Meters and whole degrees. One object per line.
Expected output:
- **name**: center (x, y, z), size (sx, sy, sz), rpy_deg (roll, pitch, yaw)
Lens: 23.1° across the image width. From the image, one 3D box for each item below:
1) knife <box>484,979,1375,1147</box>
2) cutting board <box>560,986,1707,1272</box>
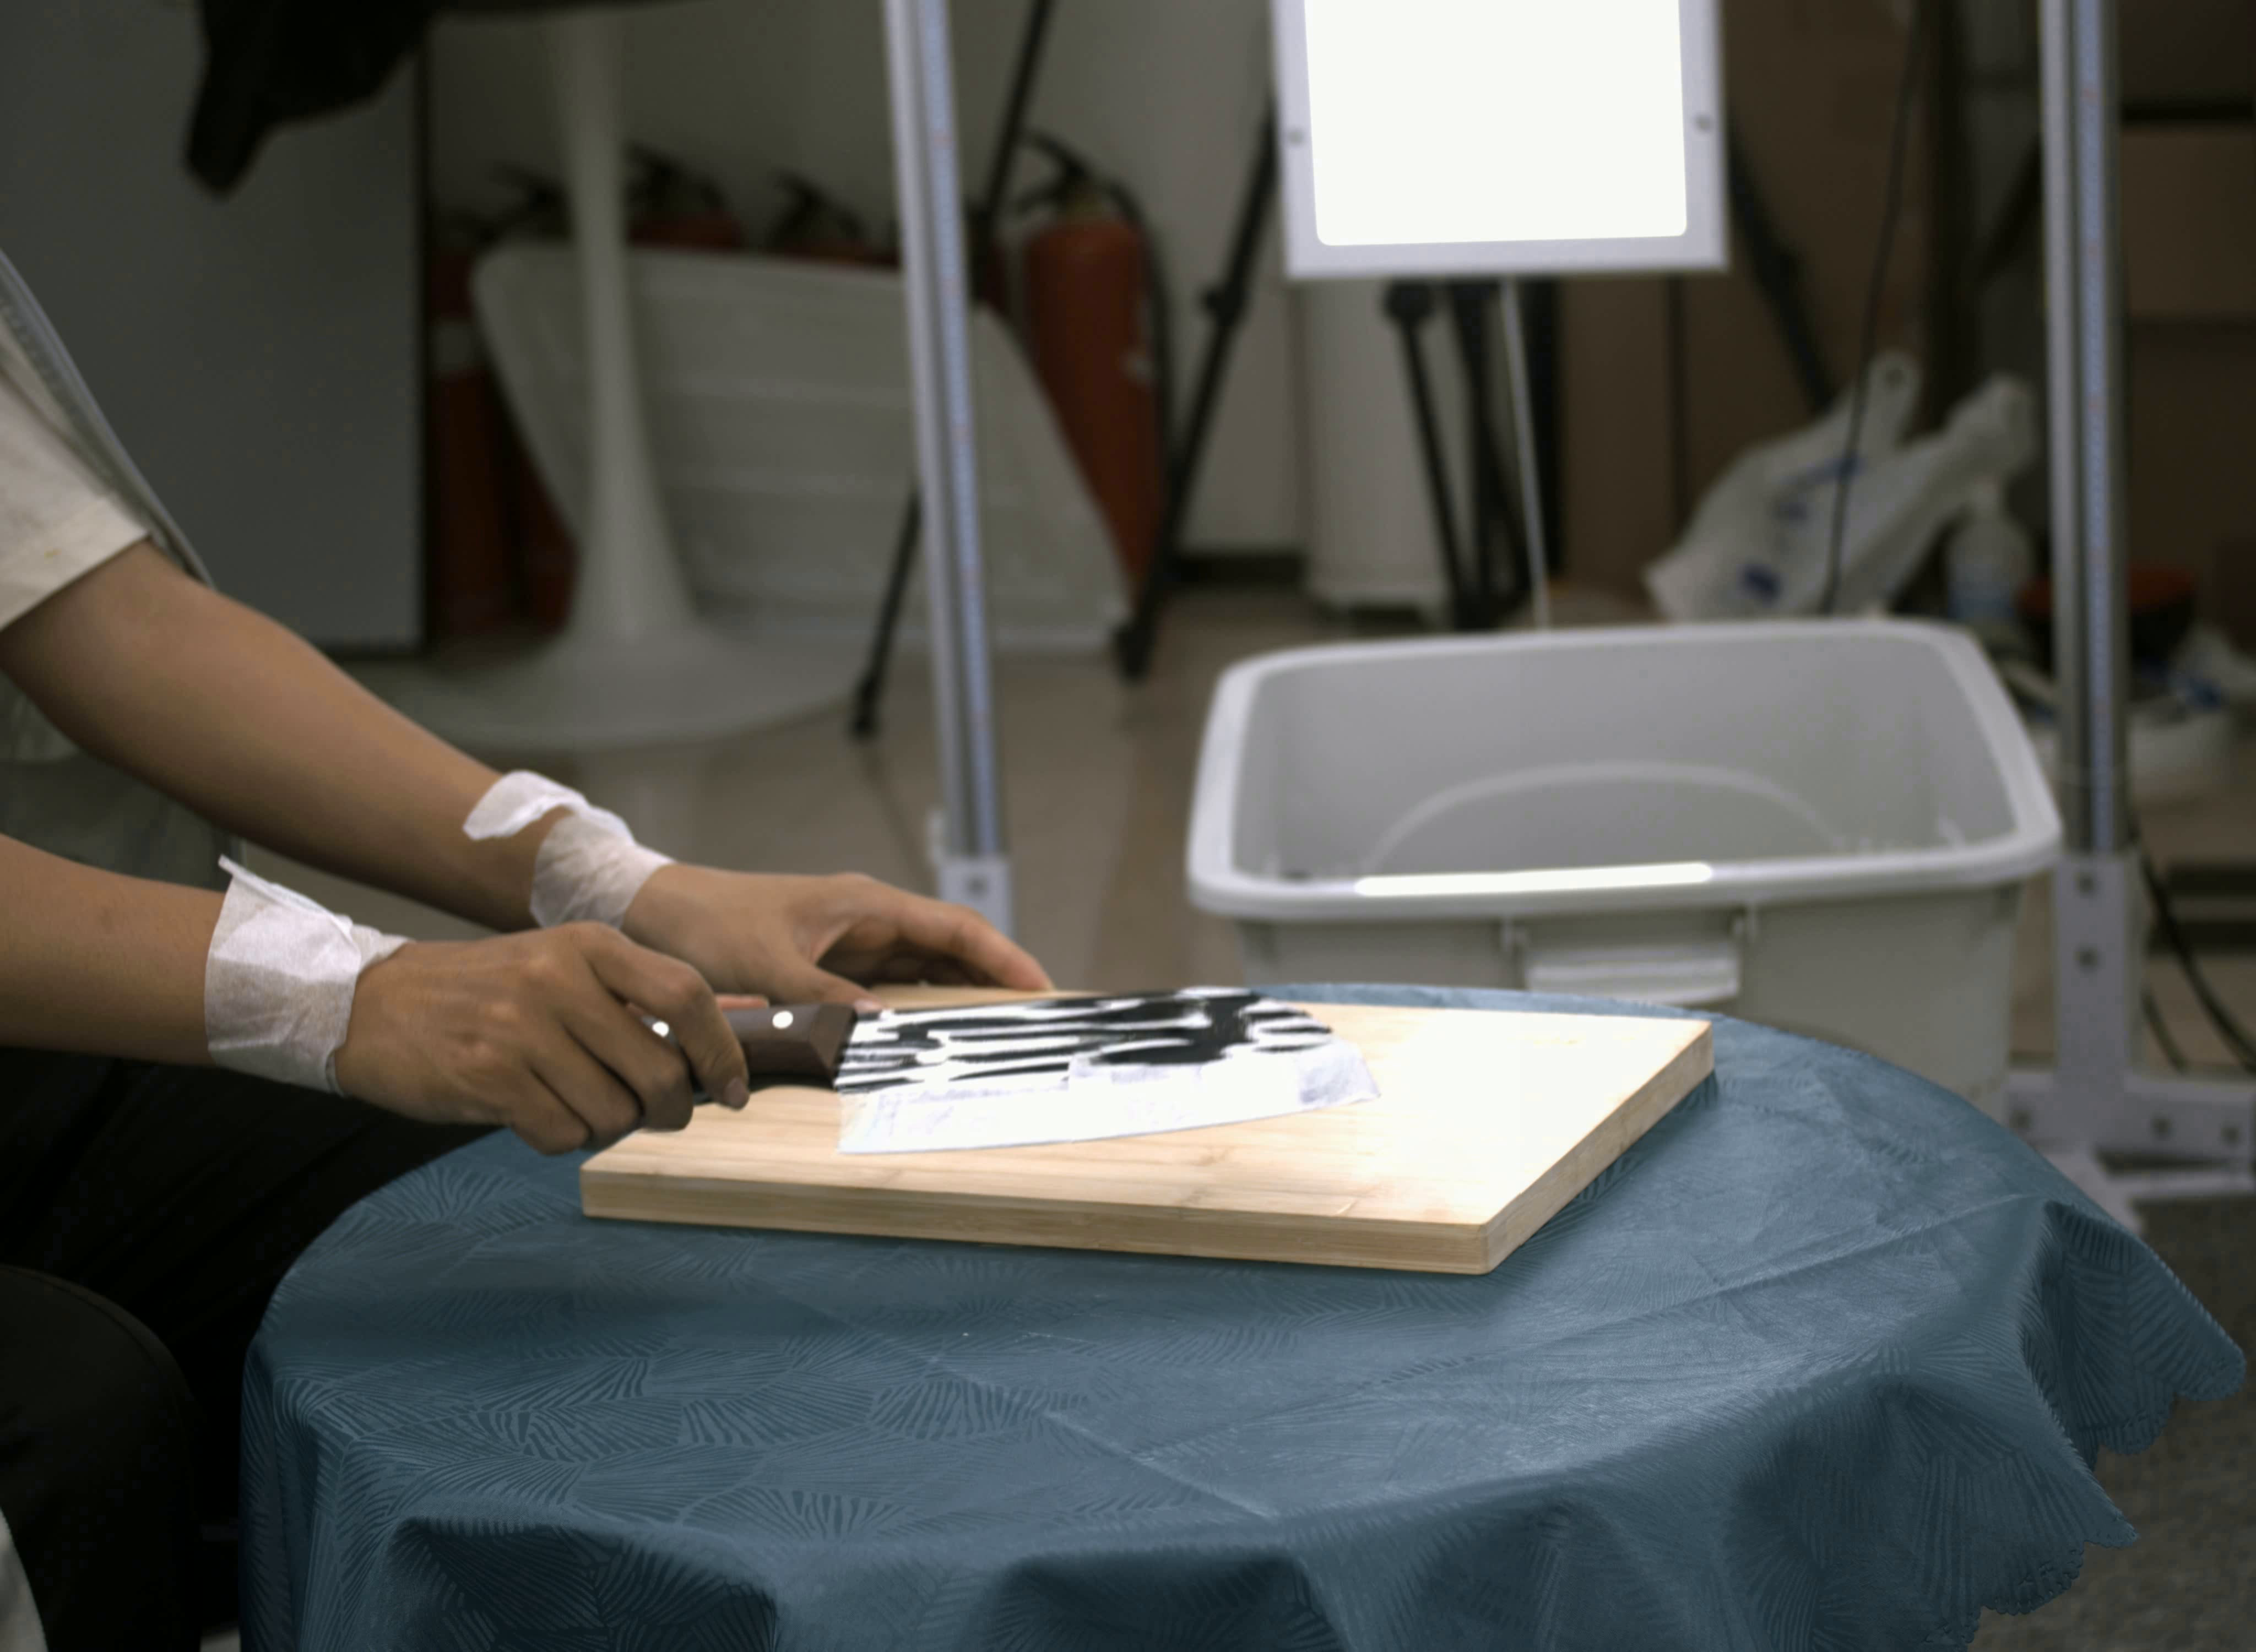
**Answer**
- **knife**: center (-0.068, 0.079, 1.802), size (0.301, 0.024, 0.067), rpy_deg (-4, 43, 10)
- **cutting board**: center (0.005, 0.104, 1.955), size (0.354, 0.023, 0.246), rpy_deg (1, 14, 25)
